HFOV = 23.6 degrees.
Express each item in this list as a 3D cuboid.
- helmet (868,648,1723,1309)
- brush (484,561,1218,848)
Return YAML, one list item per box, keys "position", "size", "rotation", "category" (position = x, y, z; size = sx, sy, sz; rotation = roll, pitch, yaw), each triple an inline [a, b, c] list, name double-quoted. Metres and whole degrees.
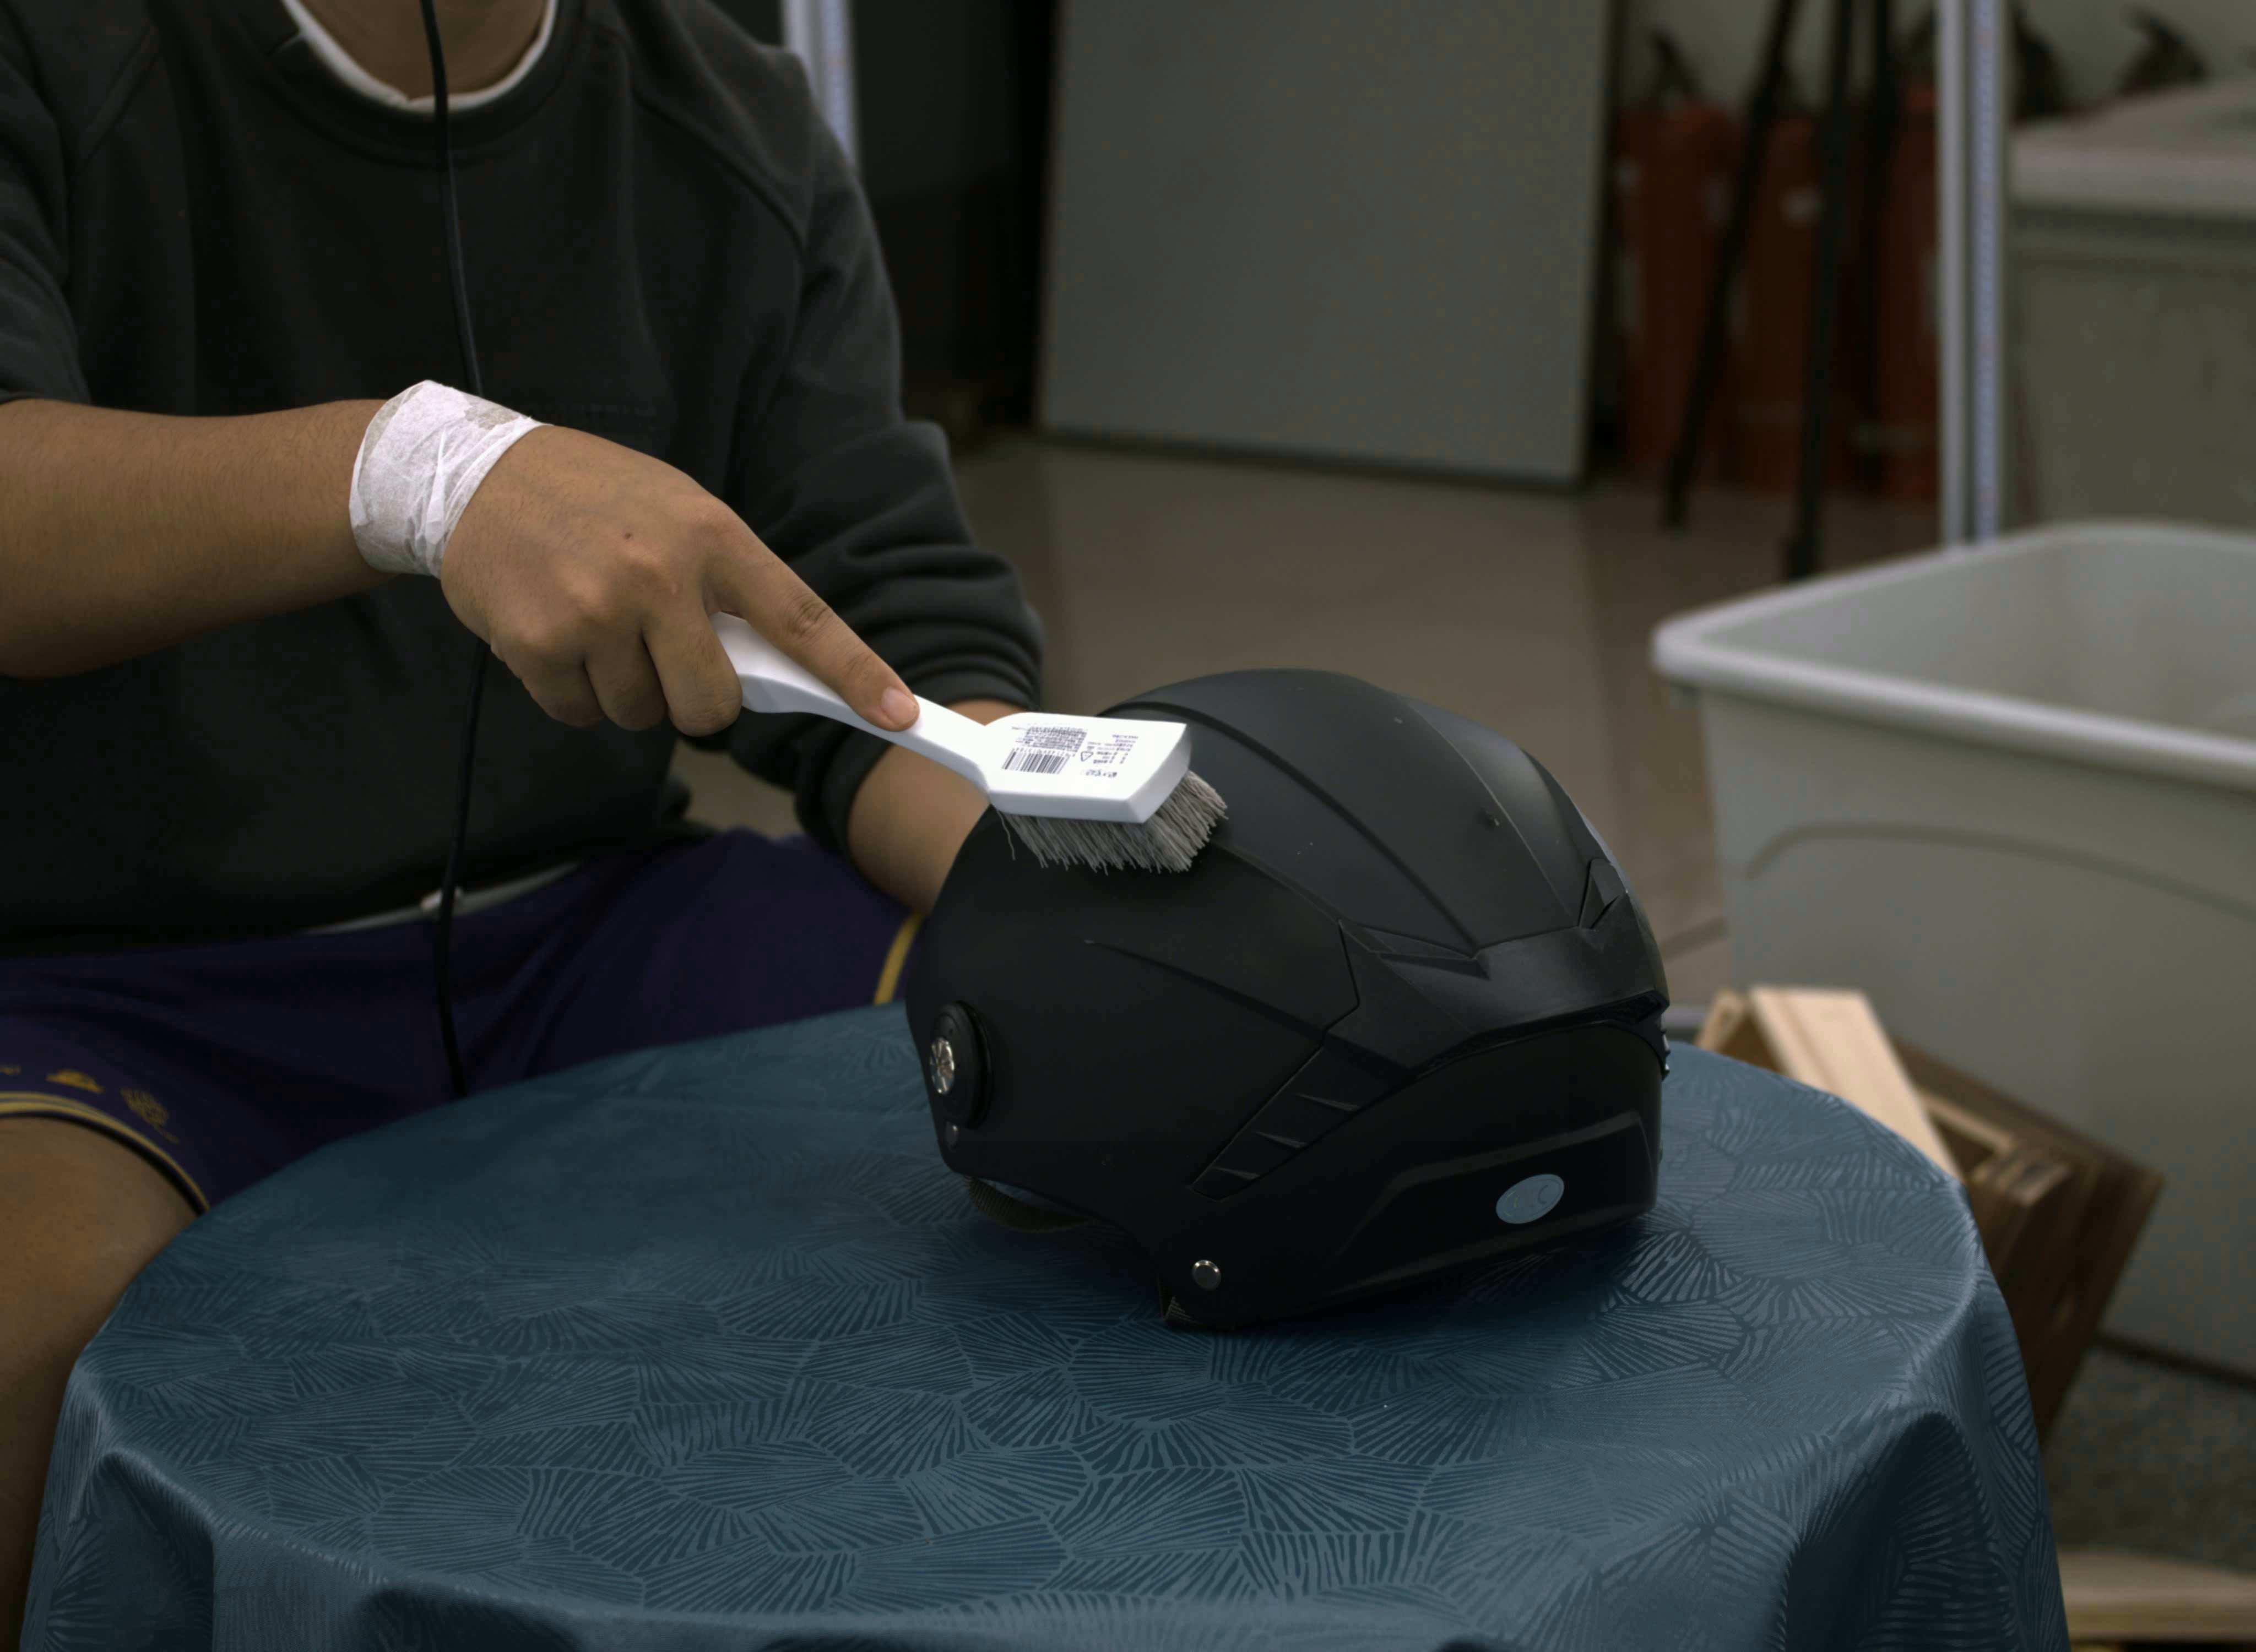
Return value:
- position: [0.056, 0.034, 1.703]
  size: [0.241, 0.174, 0.280]
  rotation: [-10, 32, -29]
  category: "helmet"
- position: [-0.087, -0.036, 1.656]
  size: [0.244, 0.050, 0.034]
  rotation: [14, 54, 22]
  category: "brush"
